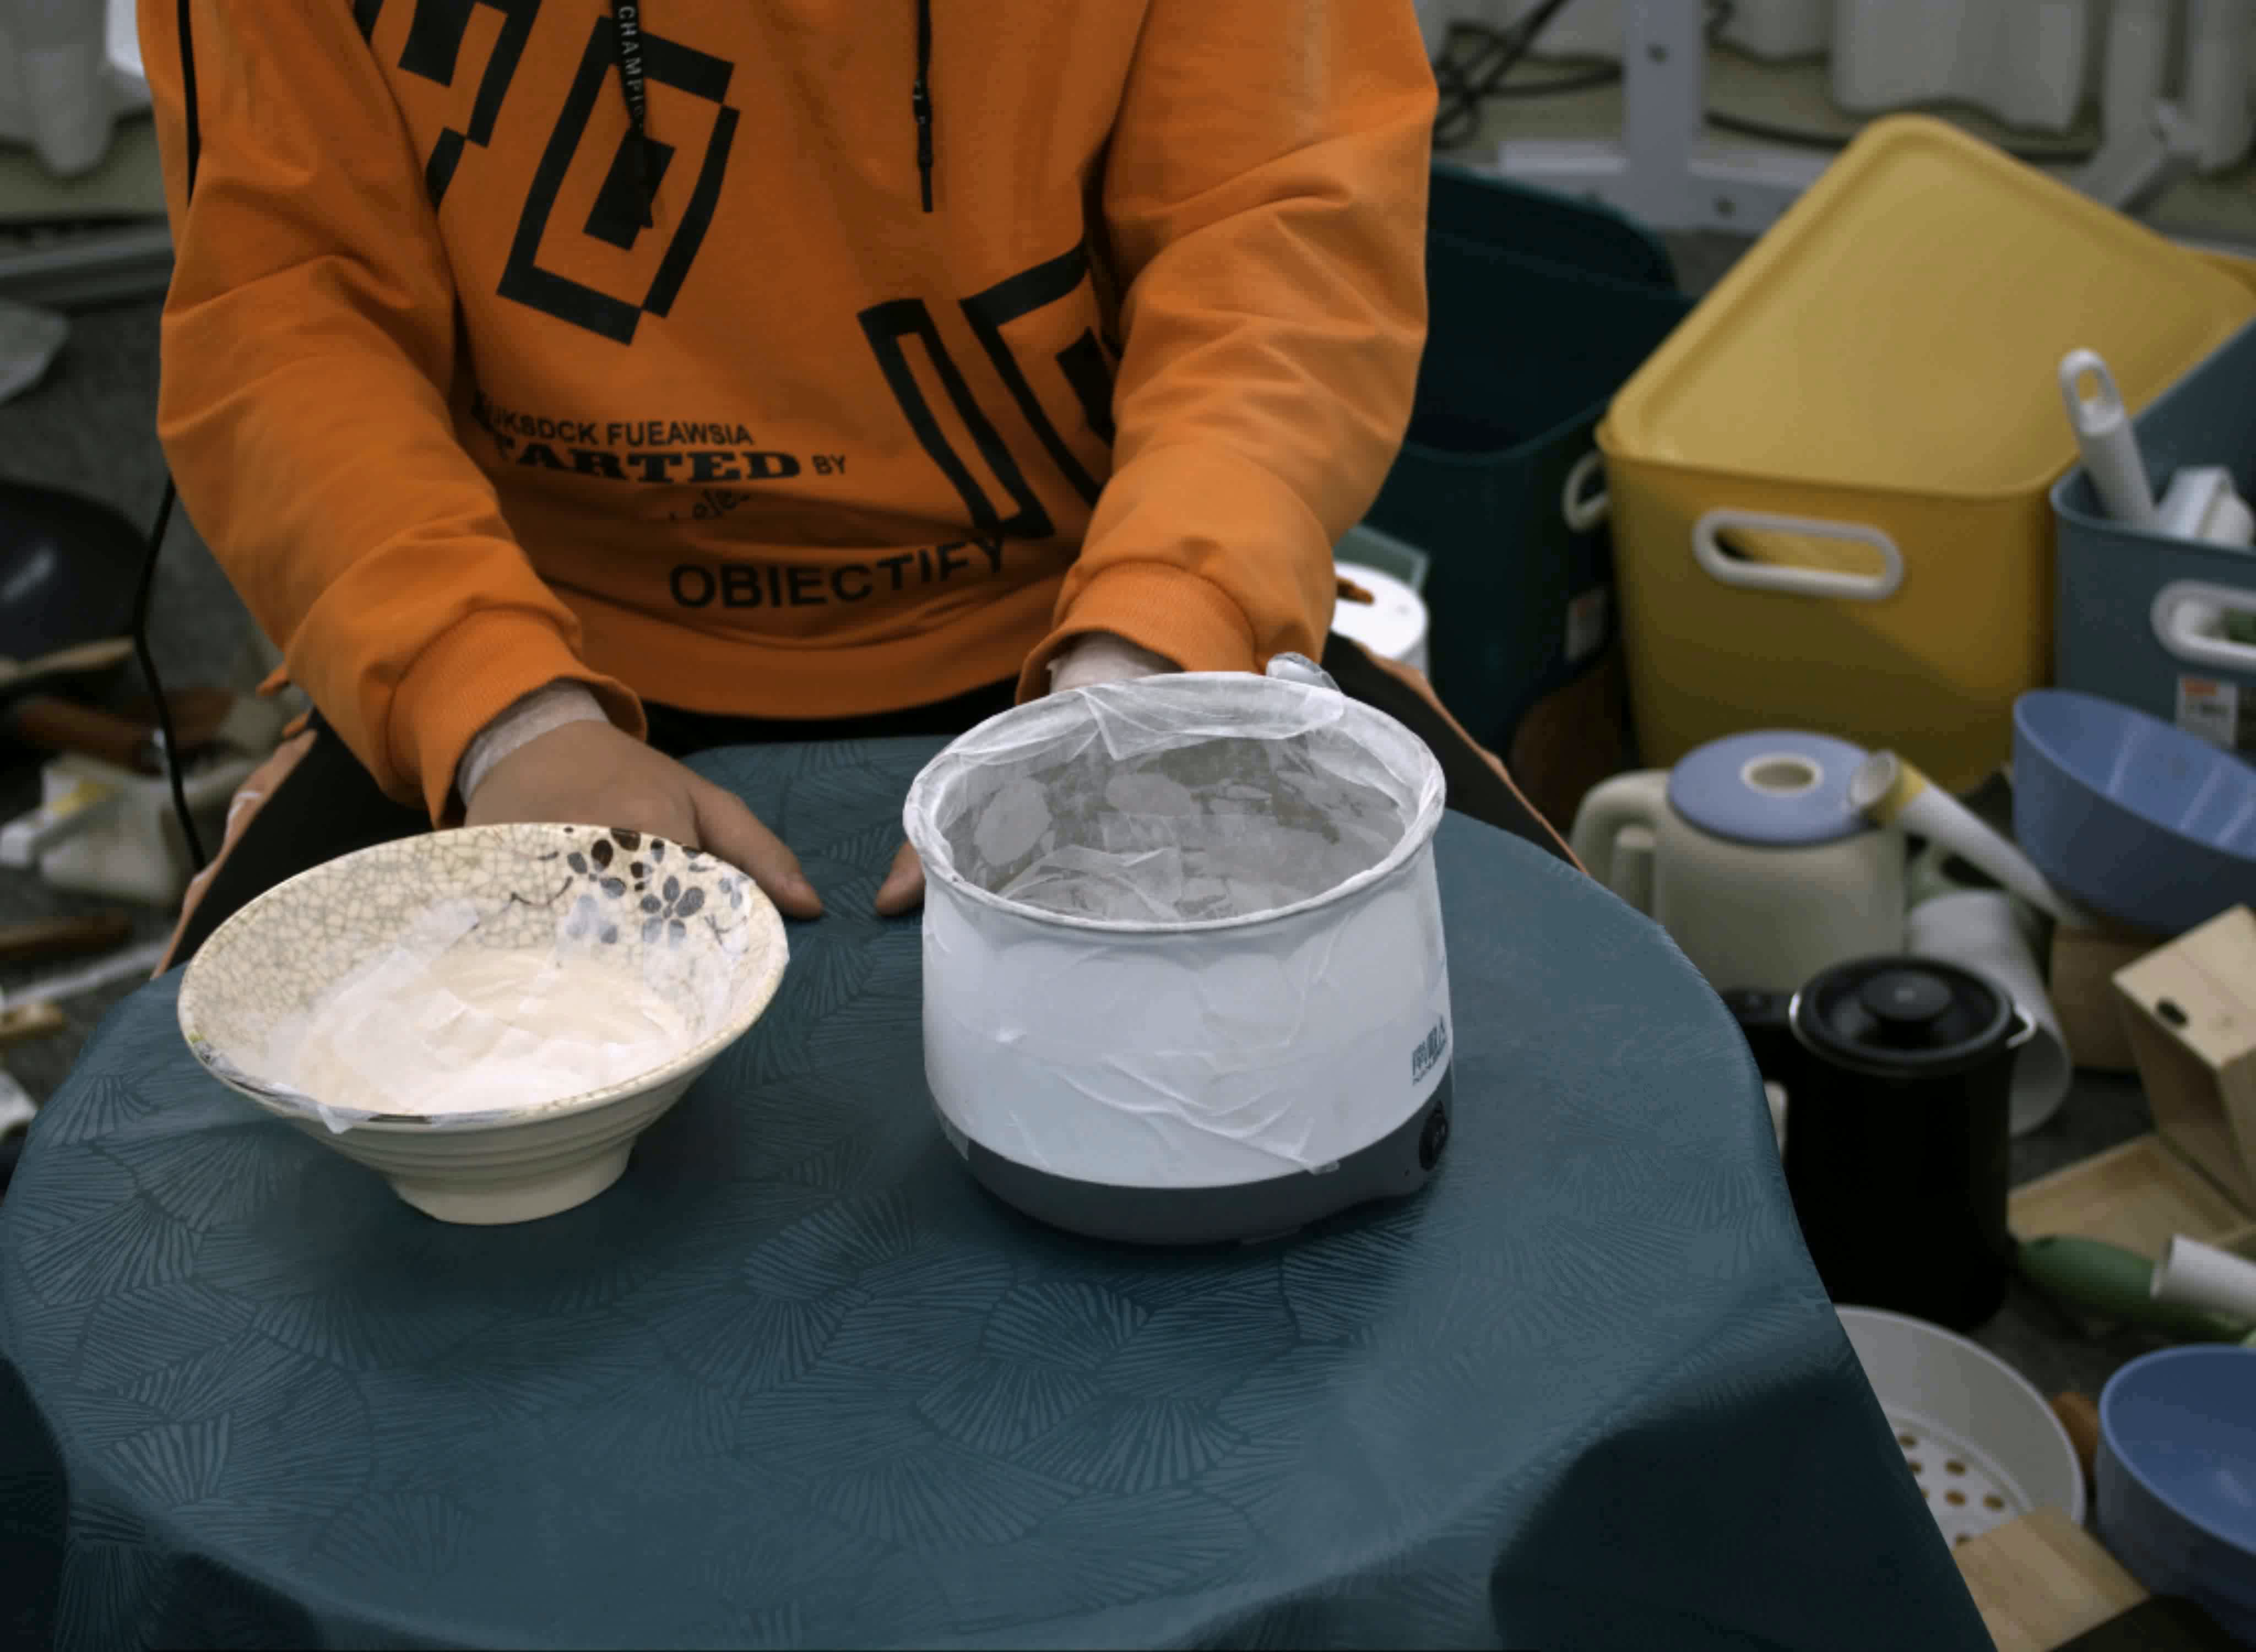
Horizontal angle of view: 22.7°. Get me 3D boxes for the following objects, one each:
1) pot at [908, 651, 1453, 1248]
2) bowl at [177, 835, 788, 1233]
[{"bbox_3d":[0.029,0.033,1.882,0.177,0.135,0.238,8,30,20],"label":"pot"},{"bbox_3d":[-0.212,0.082,1.880,0.203,0.077,0.207,-3,25,2],"label":"bowl"}]
